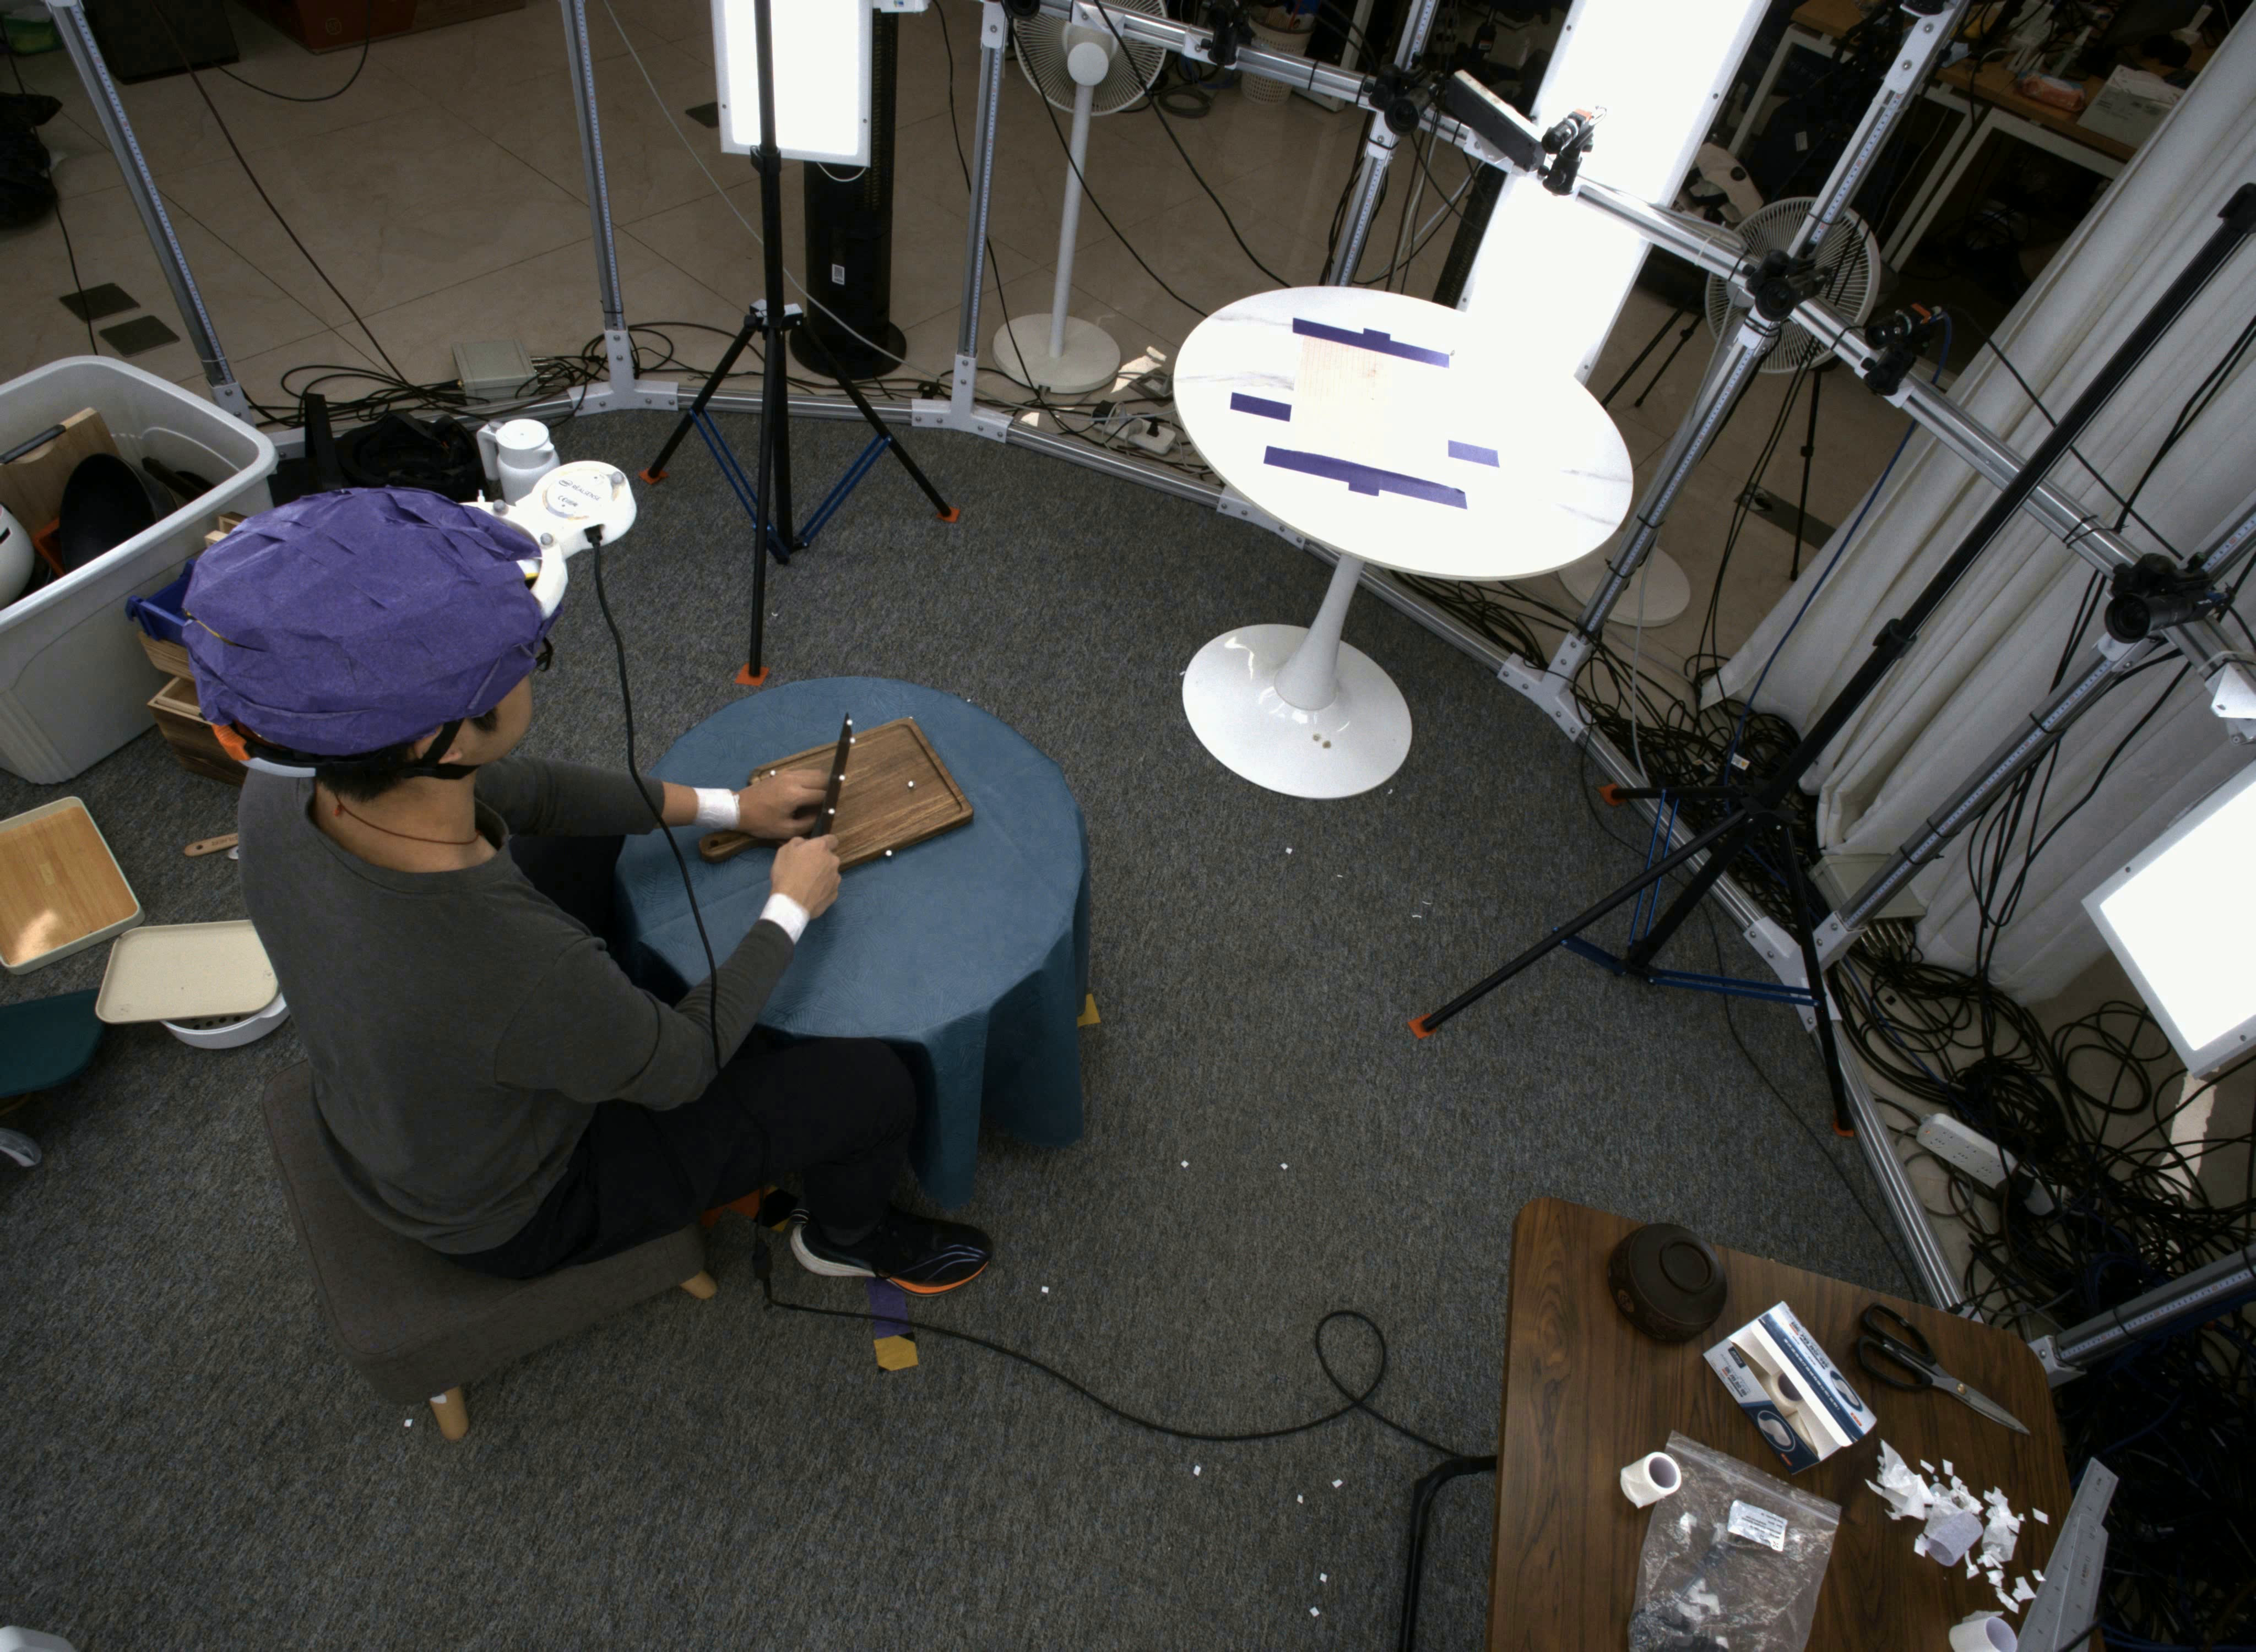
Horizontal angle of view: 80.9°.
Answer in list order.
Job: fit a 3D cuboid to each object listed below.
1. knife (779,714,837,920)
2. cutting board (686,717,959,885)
[{"bbox_3d":[-0.409,-0.012,1.676,0.020,0.083,0.297,5,53,0],"label":"knife"},{"bbox_3d":[-0.423,-0.023,1.738,0.354,0.023,0.196,-24,62,-28],"label":"cutting board"}]
